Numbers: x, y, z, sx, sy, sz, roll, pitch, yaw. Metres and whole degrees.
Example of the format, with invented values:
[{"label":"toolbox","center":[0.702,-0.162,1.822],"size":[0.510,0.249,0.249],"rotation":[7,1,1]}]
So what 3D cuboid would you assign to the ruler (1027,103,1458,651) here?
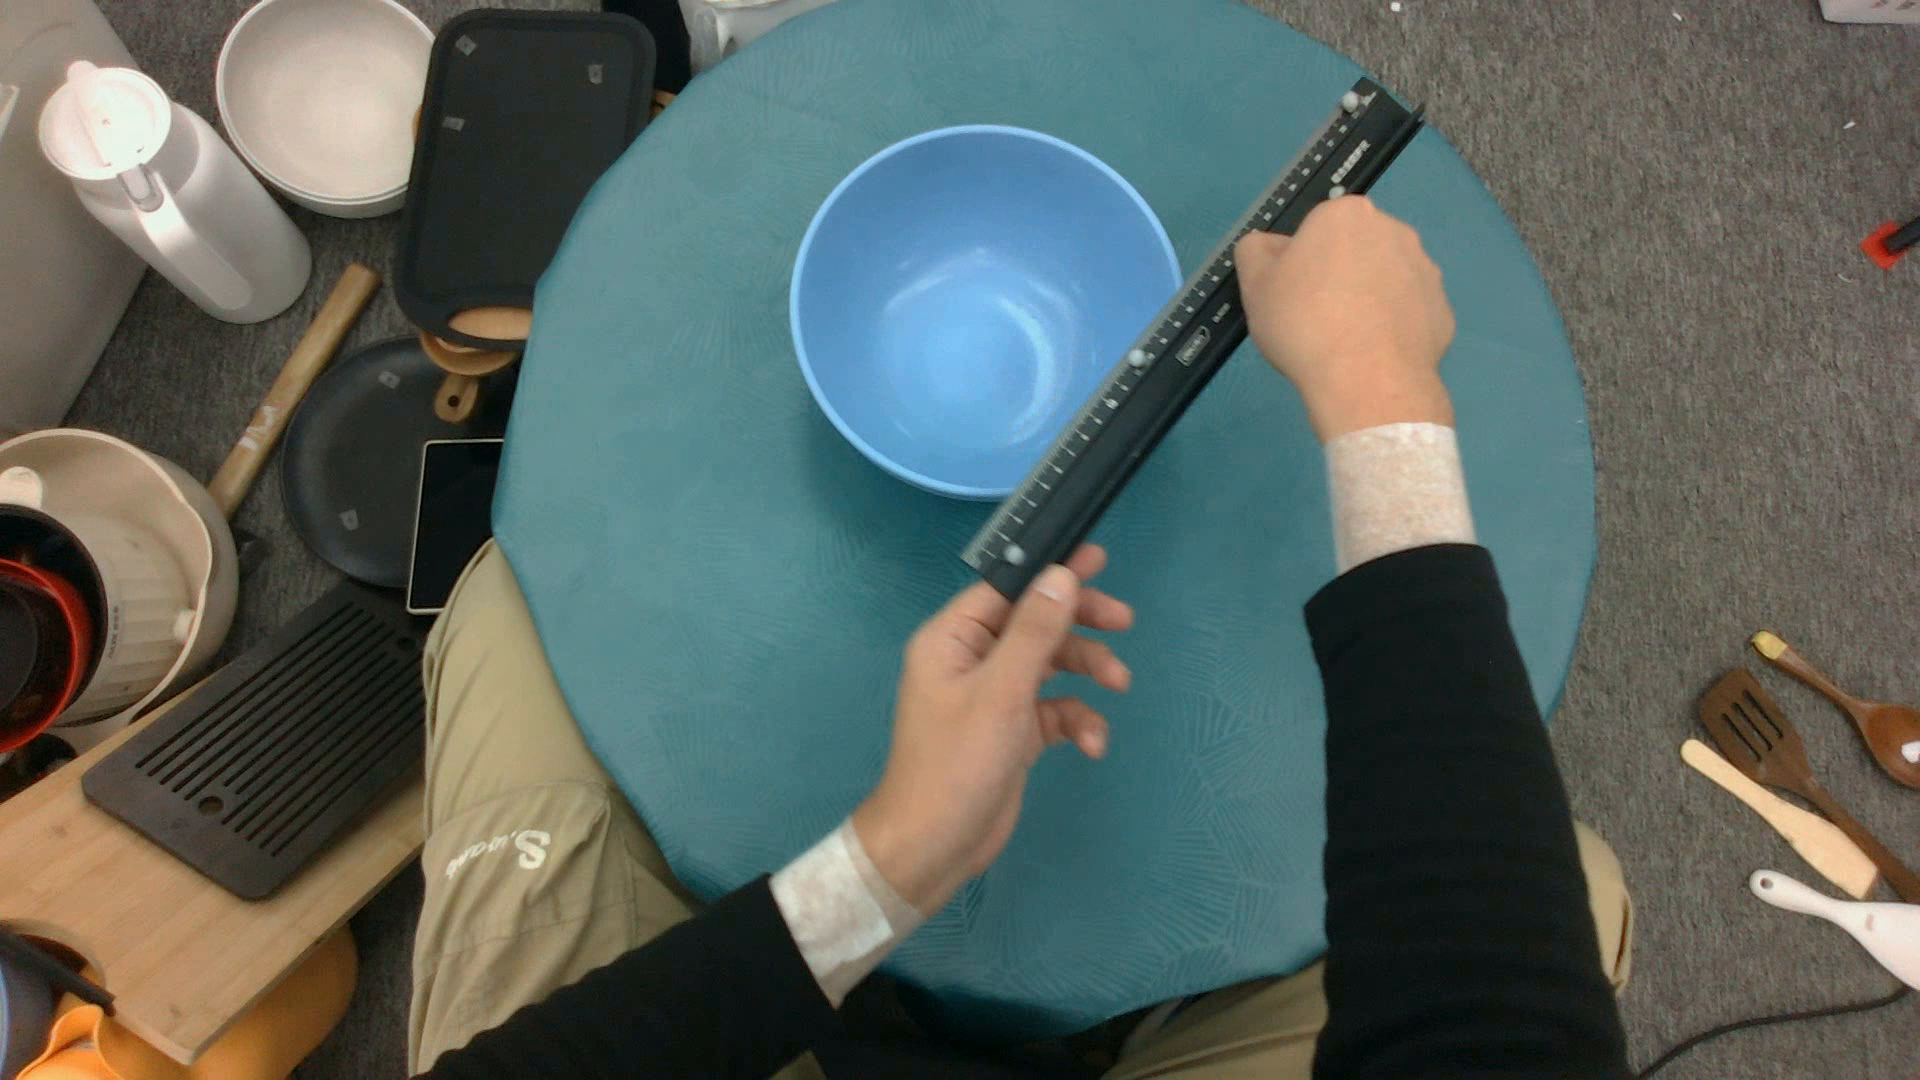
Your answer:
[{"label":"ruler","center":[0.135,-0.084,0.632],"size":[0.039,0.017,0.313],"rotation":[36,78,6]}]

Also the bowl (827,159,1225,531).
[{"label":"bowl","center":[0.031,-0.089,0.720],"size":[0.196,0.095,0.197],"rotation":[1,74,-2]}]
